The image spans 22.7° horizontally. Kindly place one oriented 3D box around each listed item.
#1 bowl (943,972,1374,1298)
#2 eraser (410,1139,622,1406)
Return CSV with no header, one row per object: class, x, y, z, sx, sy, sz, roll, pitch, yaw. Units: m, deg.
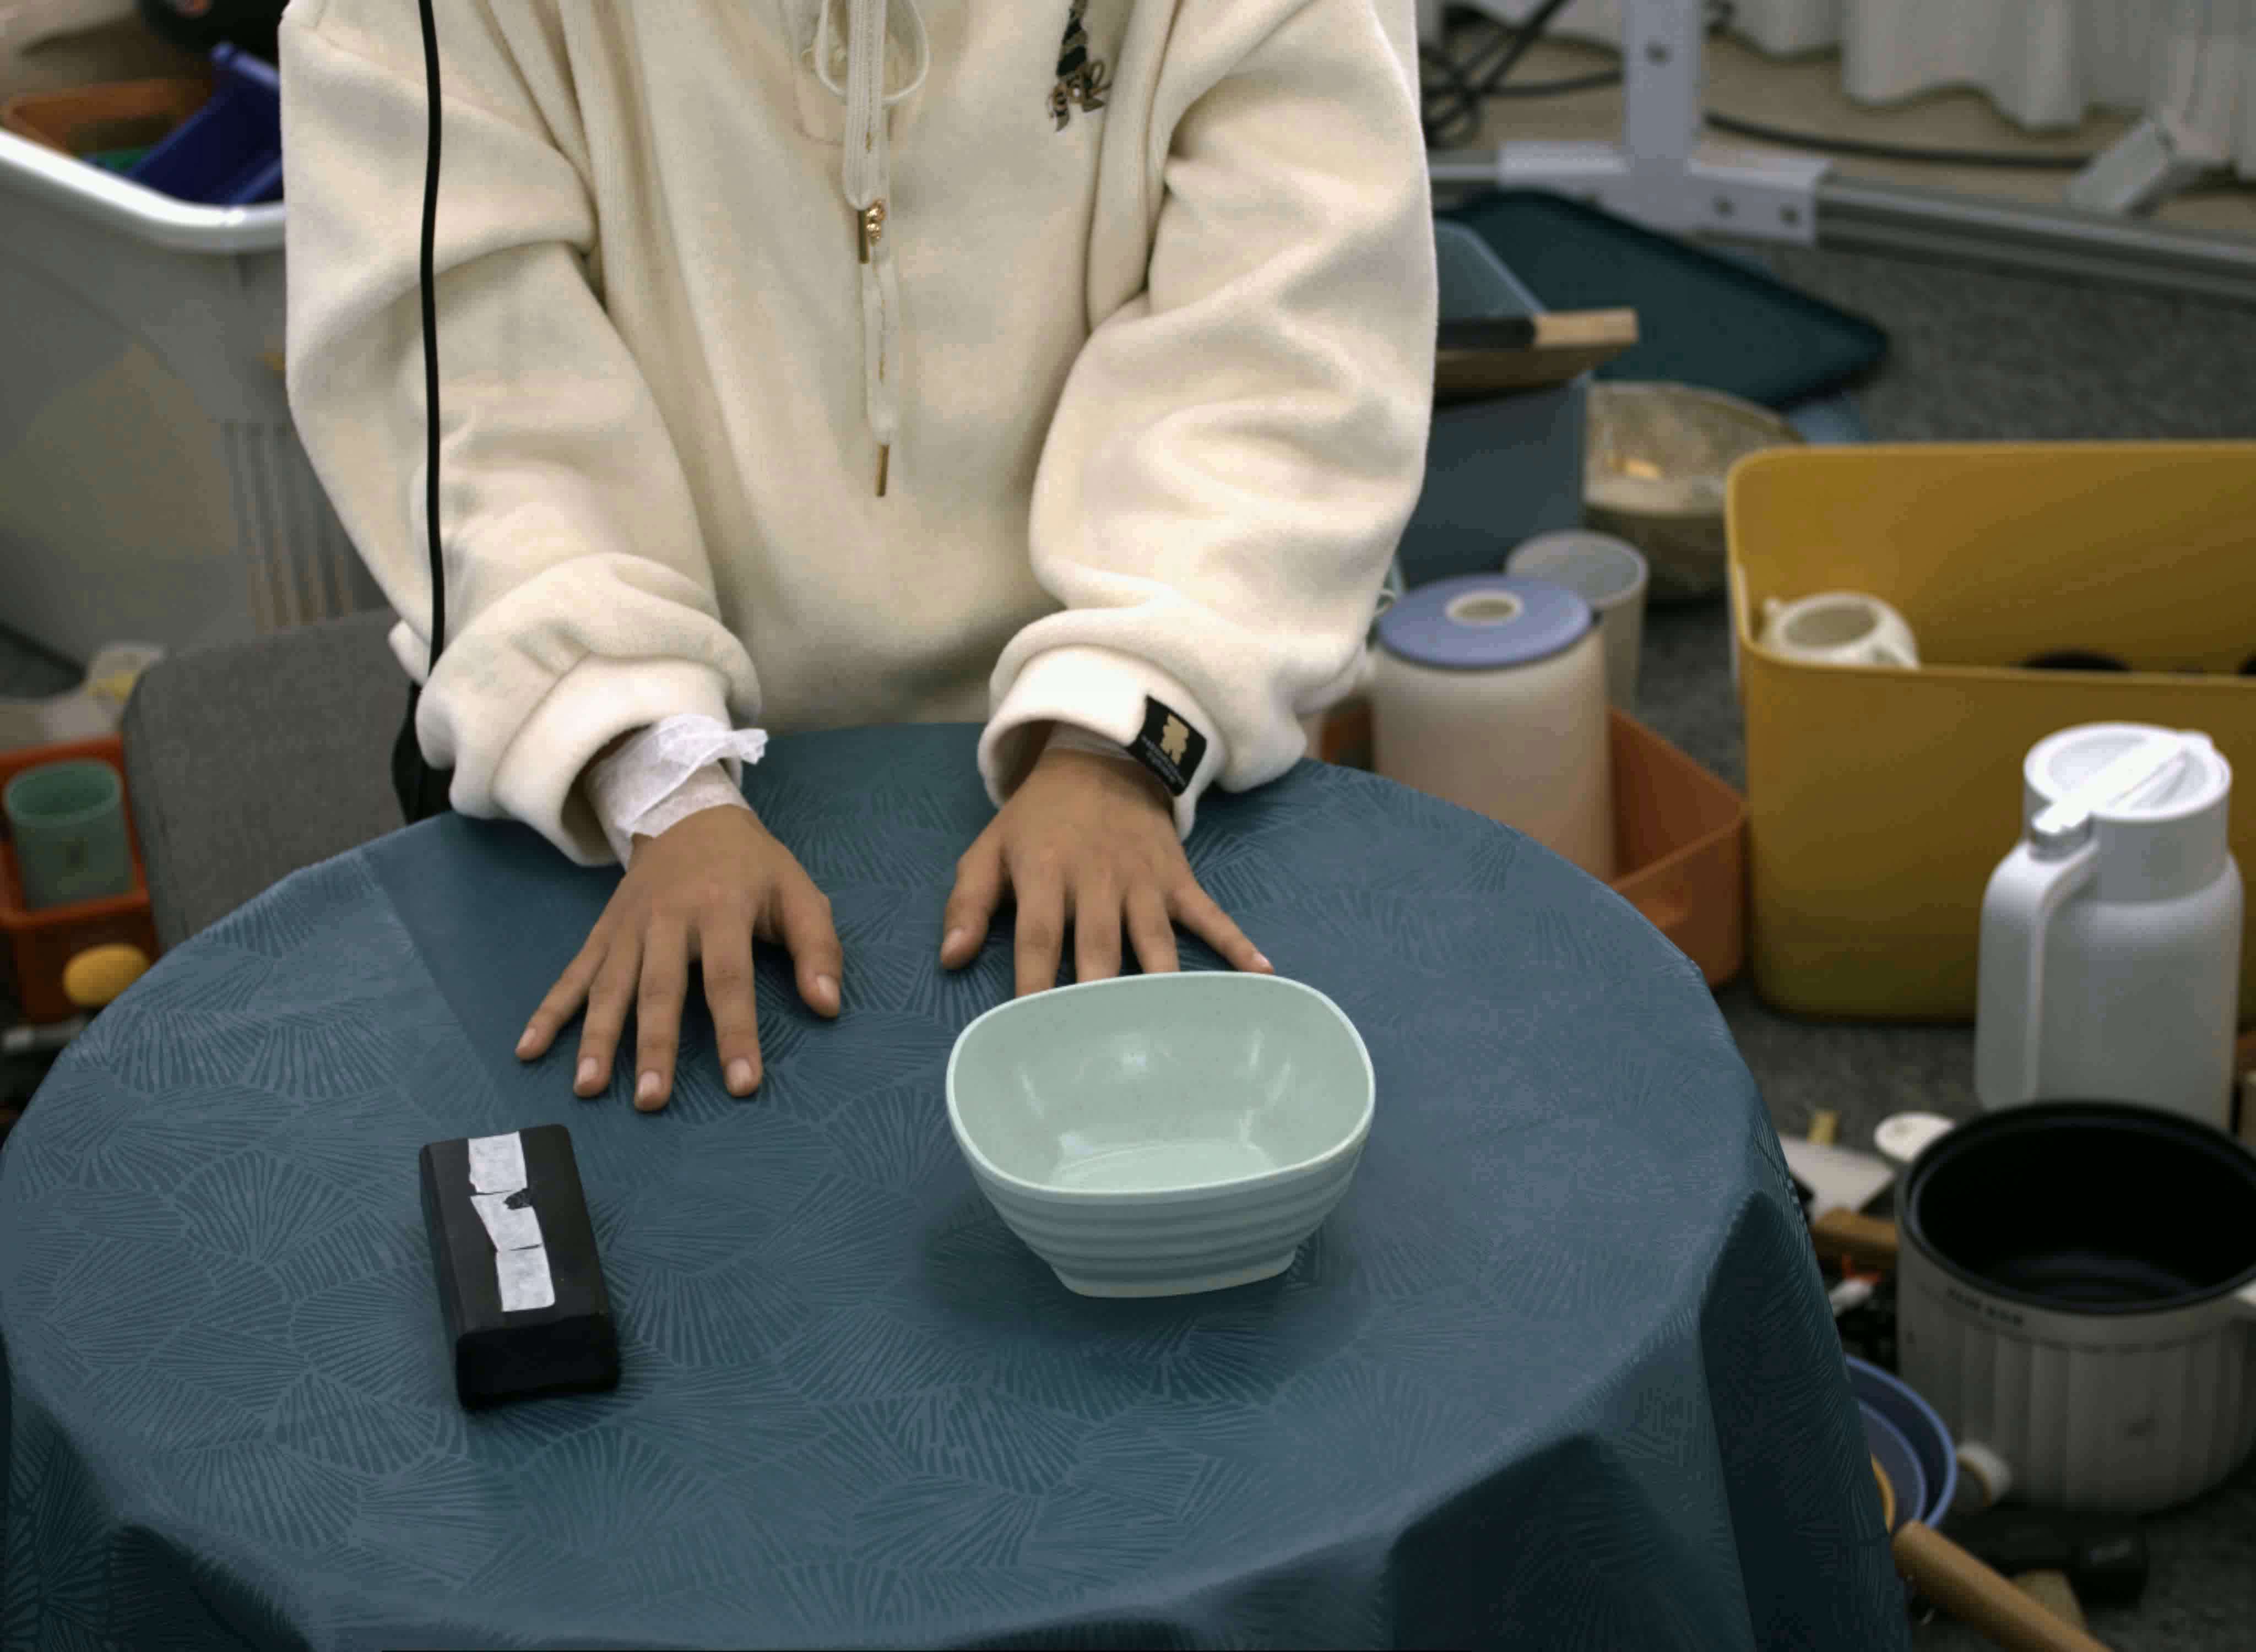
bowl,0.010,0.107,1.828,0.151,0.058,0.154,0,27,0
eraser,-0.197,0.143,1.810,0.053,0.030,0.127,-7,25,-11
